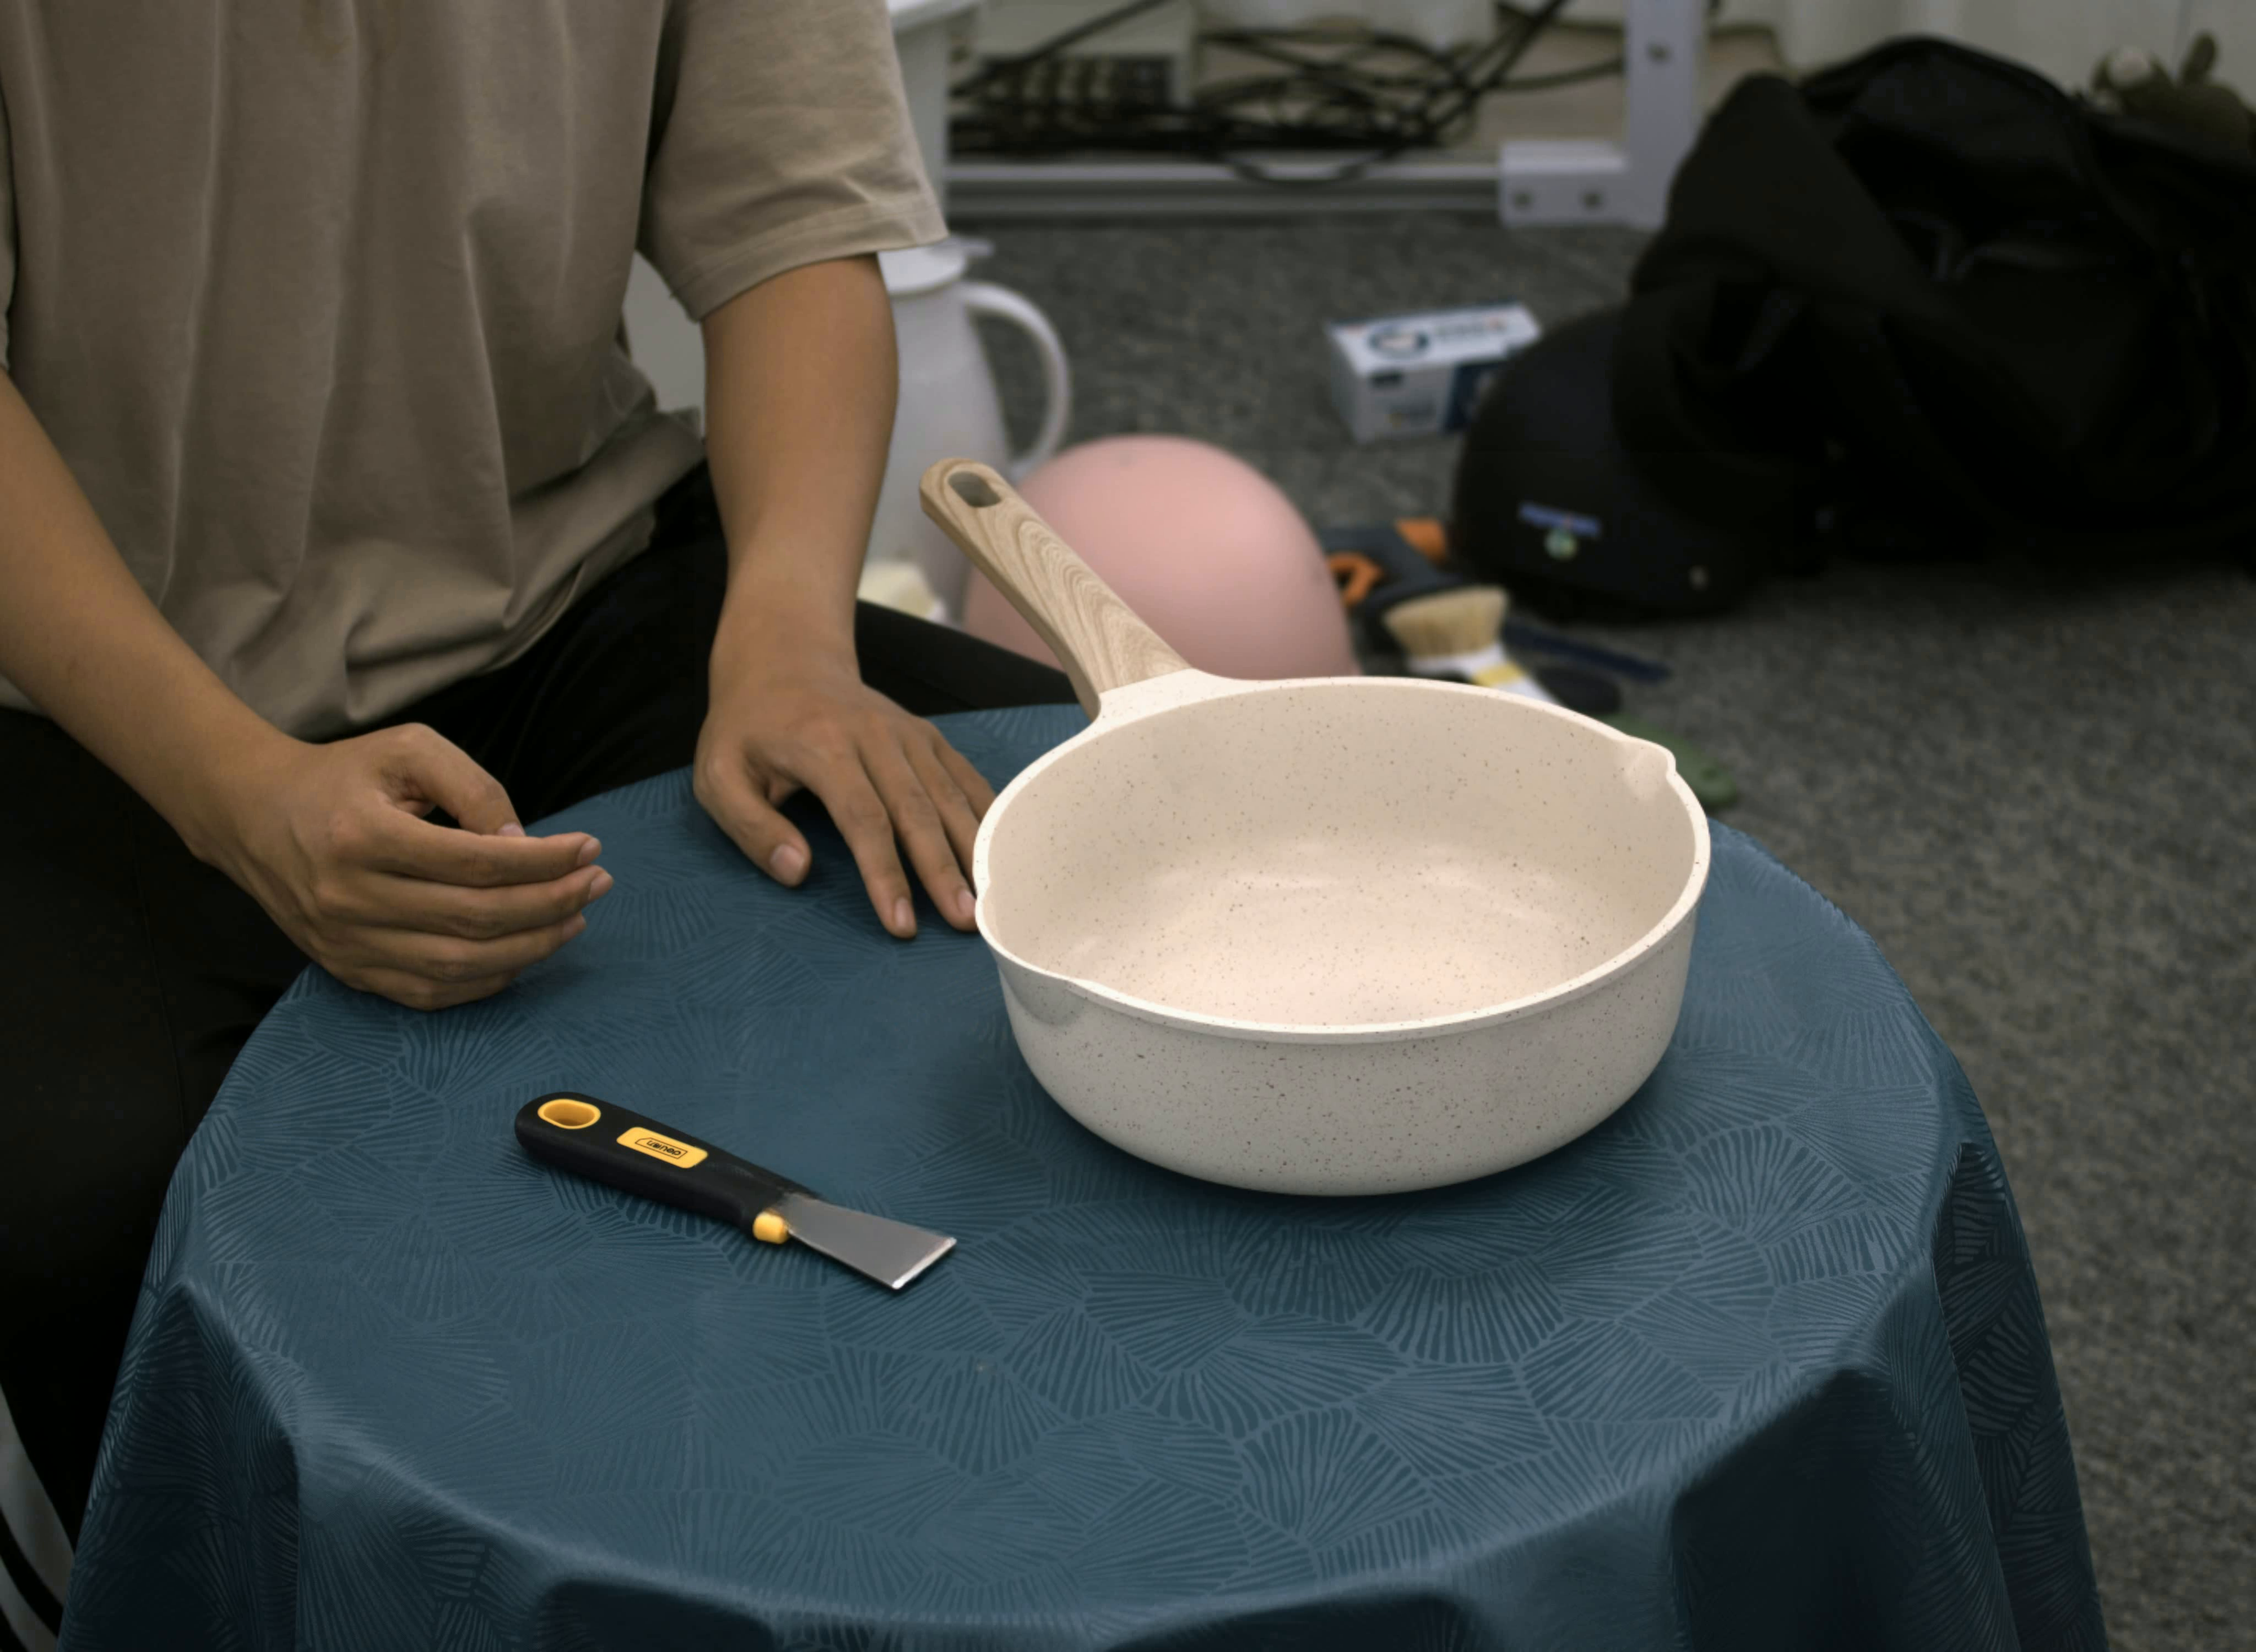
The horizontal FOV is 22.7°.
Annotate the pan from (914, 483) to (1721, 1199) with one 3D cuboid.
[{"bbox_3d":[0.035,-0.001,1.996,0.265,0.101,0.437,-18,31,-22],"label":"pan"}]

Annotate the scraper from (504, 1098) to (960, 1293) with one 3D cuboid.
[{"bbox_3d":[-0.135,0.122,1.857,0.170,0.015,0.039,16,37,27],"label":"scraper"}]
